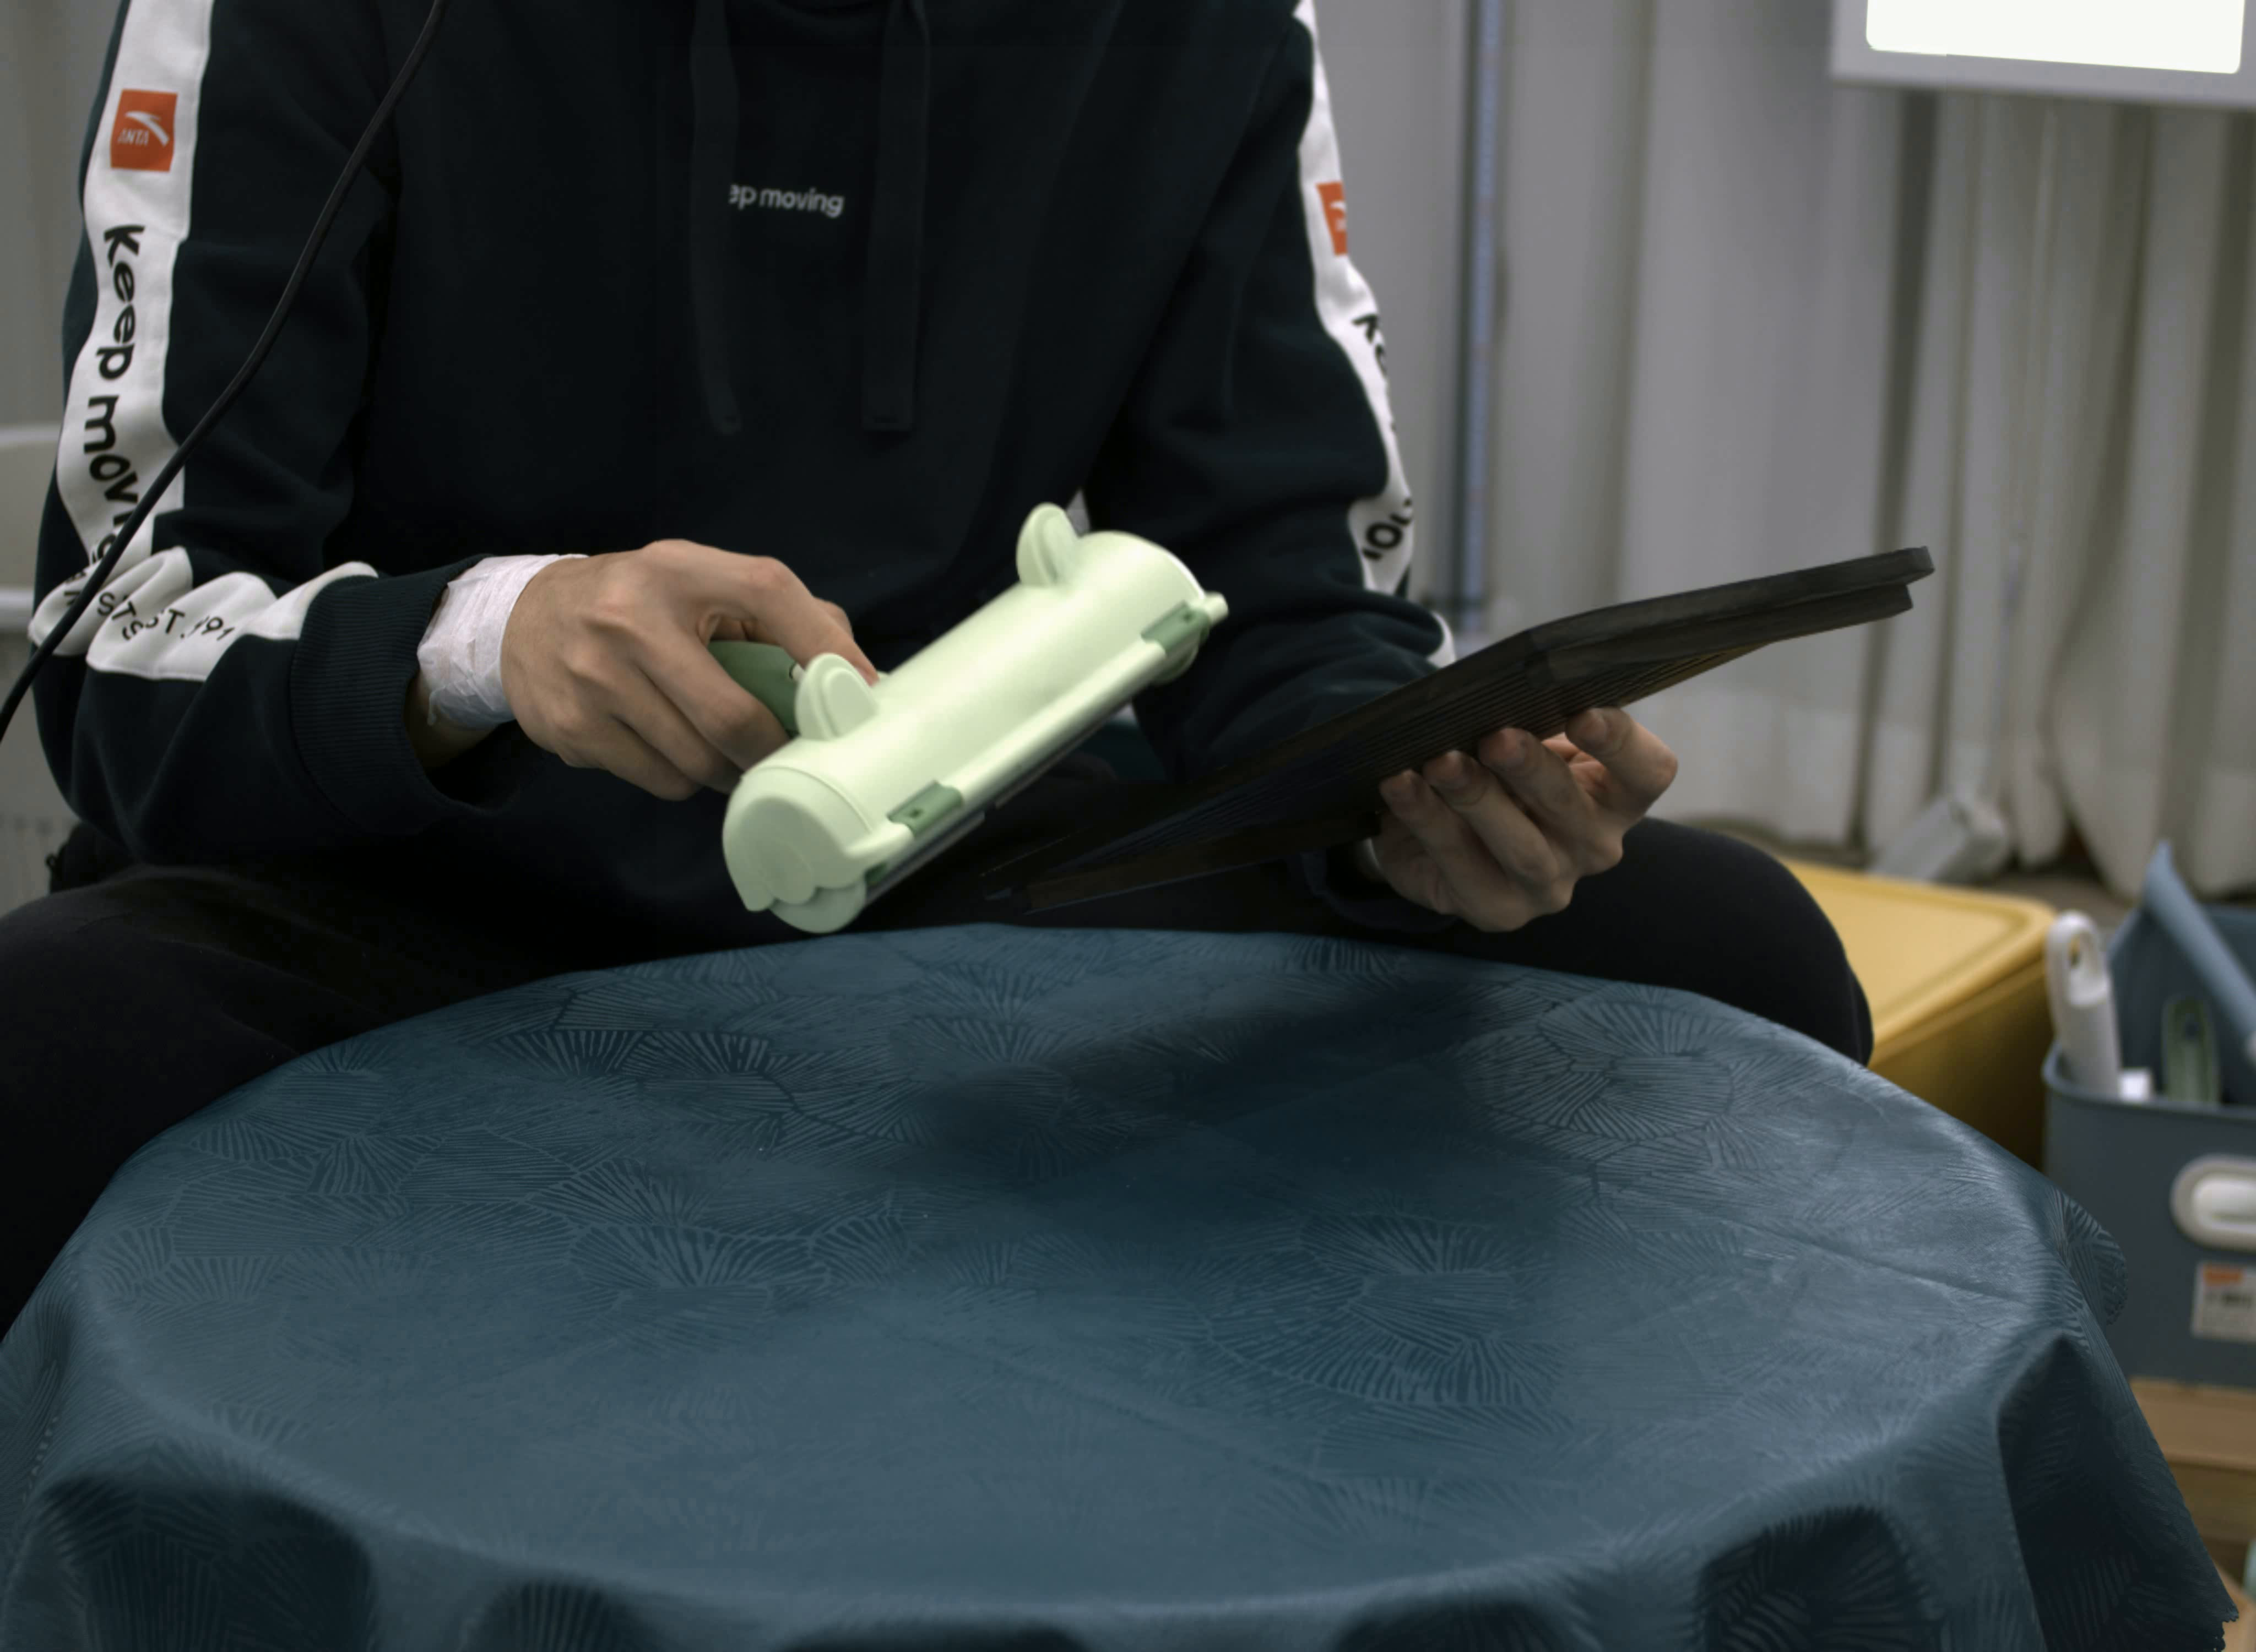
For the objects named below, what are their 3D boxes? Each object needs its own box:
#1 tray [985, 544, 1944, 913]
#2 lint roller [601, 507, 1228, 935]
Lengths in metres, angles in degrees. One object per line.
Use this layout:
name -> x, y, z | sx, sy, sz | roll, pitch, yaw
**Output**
tray -> 0.102, -0.027, 1.660 | 0.171, 0.018, 0.304 | -12, -9, -39
lint roller -> -0.093, -0.051, 1.646 | 0.181, 0.083, 0.199 | 18, 35, 29
